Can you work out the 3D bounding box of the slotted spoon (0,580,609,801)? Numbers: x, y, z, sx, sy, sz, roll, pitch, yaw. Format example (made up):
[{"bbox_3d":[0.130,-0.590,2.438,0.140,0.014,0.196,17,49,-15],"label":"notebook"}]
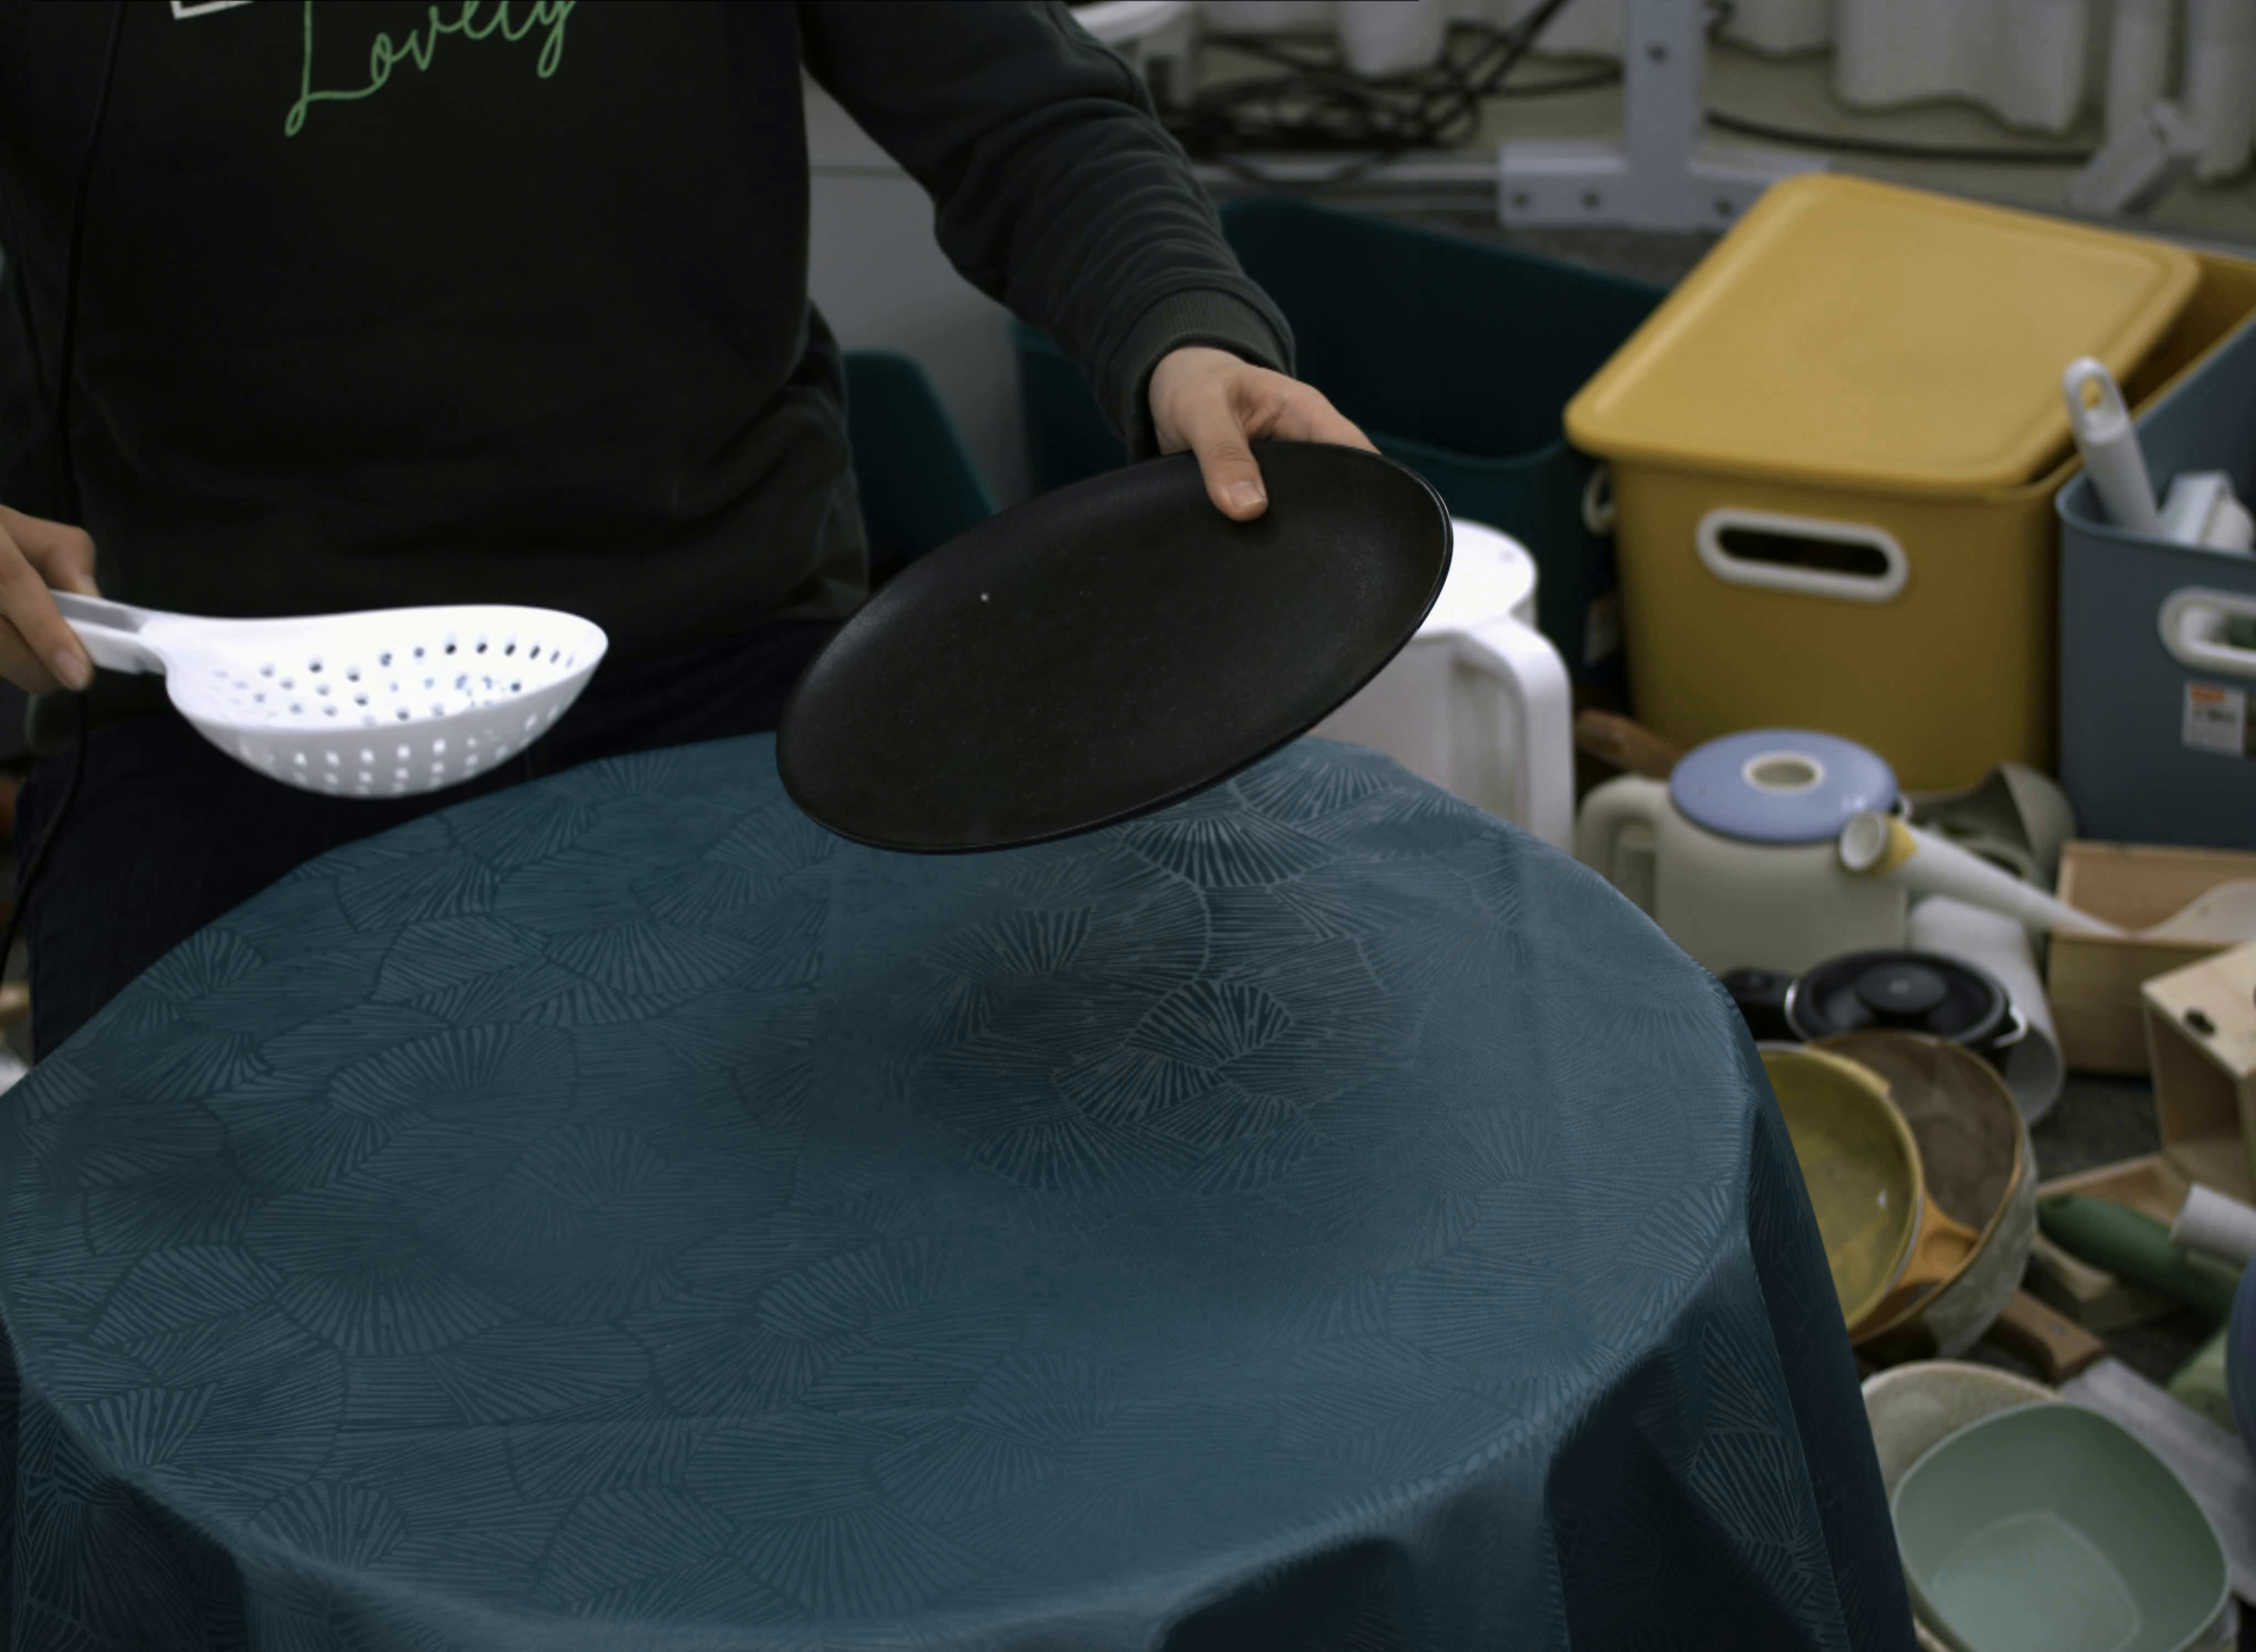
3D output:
[{"bbox_3d":[-0.305,-0.056,1.837,0.348,0.045,0.137,17,27,42],"label":"slotted spoon"}]

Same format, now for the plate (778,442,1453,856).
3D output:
[{"bbox_3d":[-0.002,-0.056,1.906,0.242,0.023,0.248,-17,29,10],"label":"plate"}]
